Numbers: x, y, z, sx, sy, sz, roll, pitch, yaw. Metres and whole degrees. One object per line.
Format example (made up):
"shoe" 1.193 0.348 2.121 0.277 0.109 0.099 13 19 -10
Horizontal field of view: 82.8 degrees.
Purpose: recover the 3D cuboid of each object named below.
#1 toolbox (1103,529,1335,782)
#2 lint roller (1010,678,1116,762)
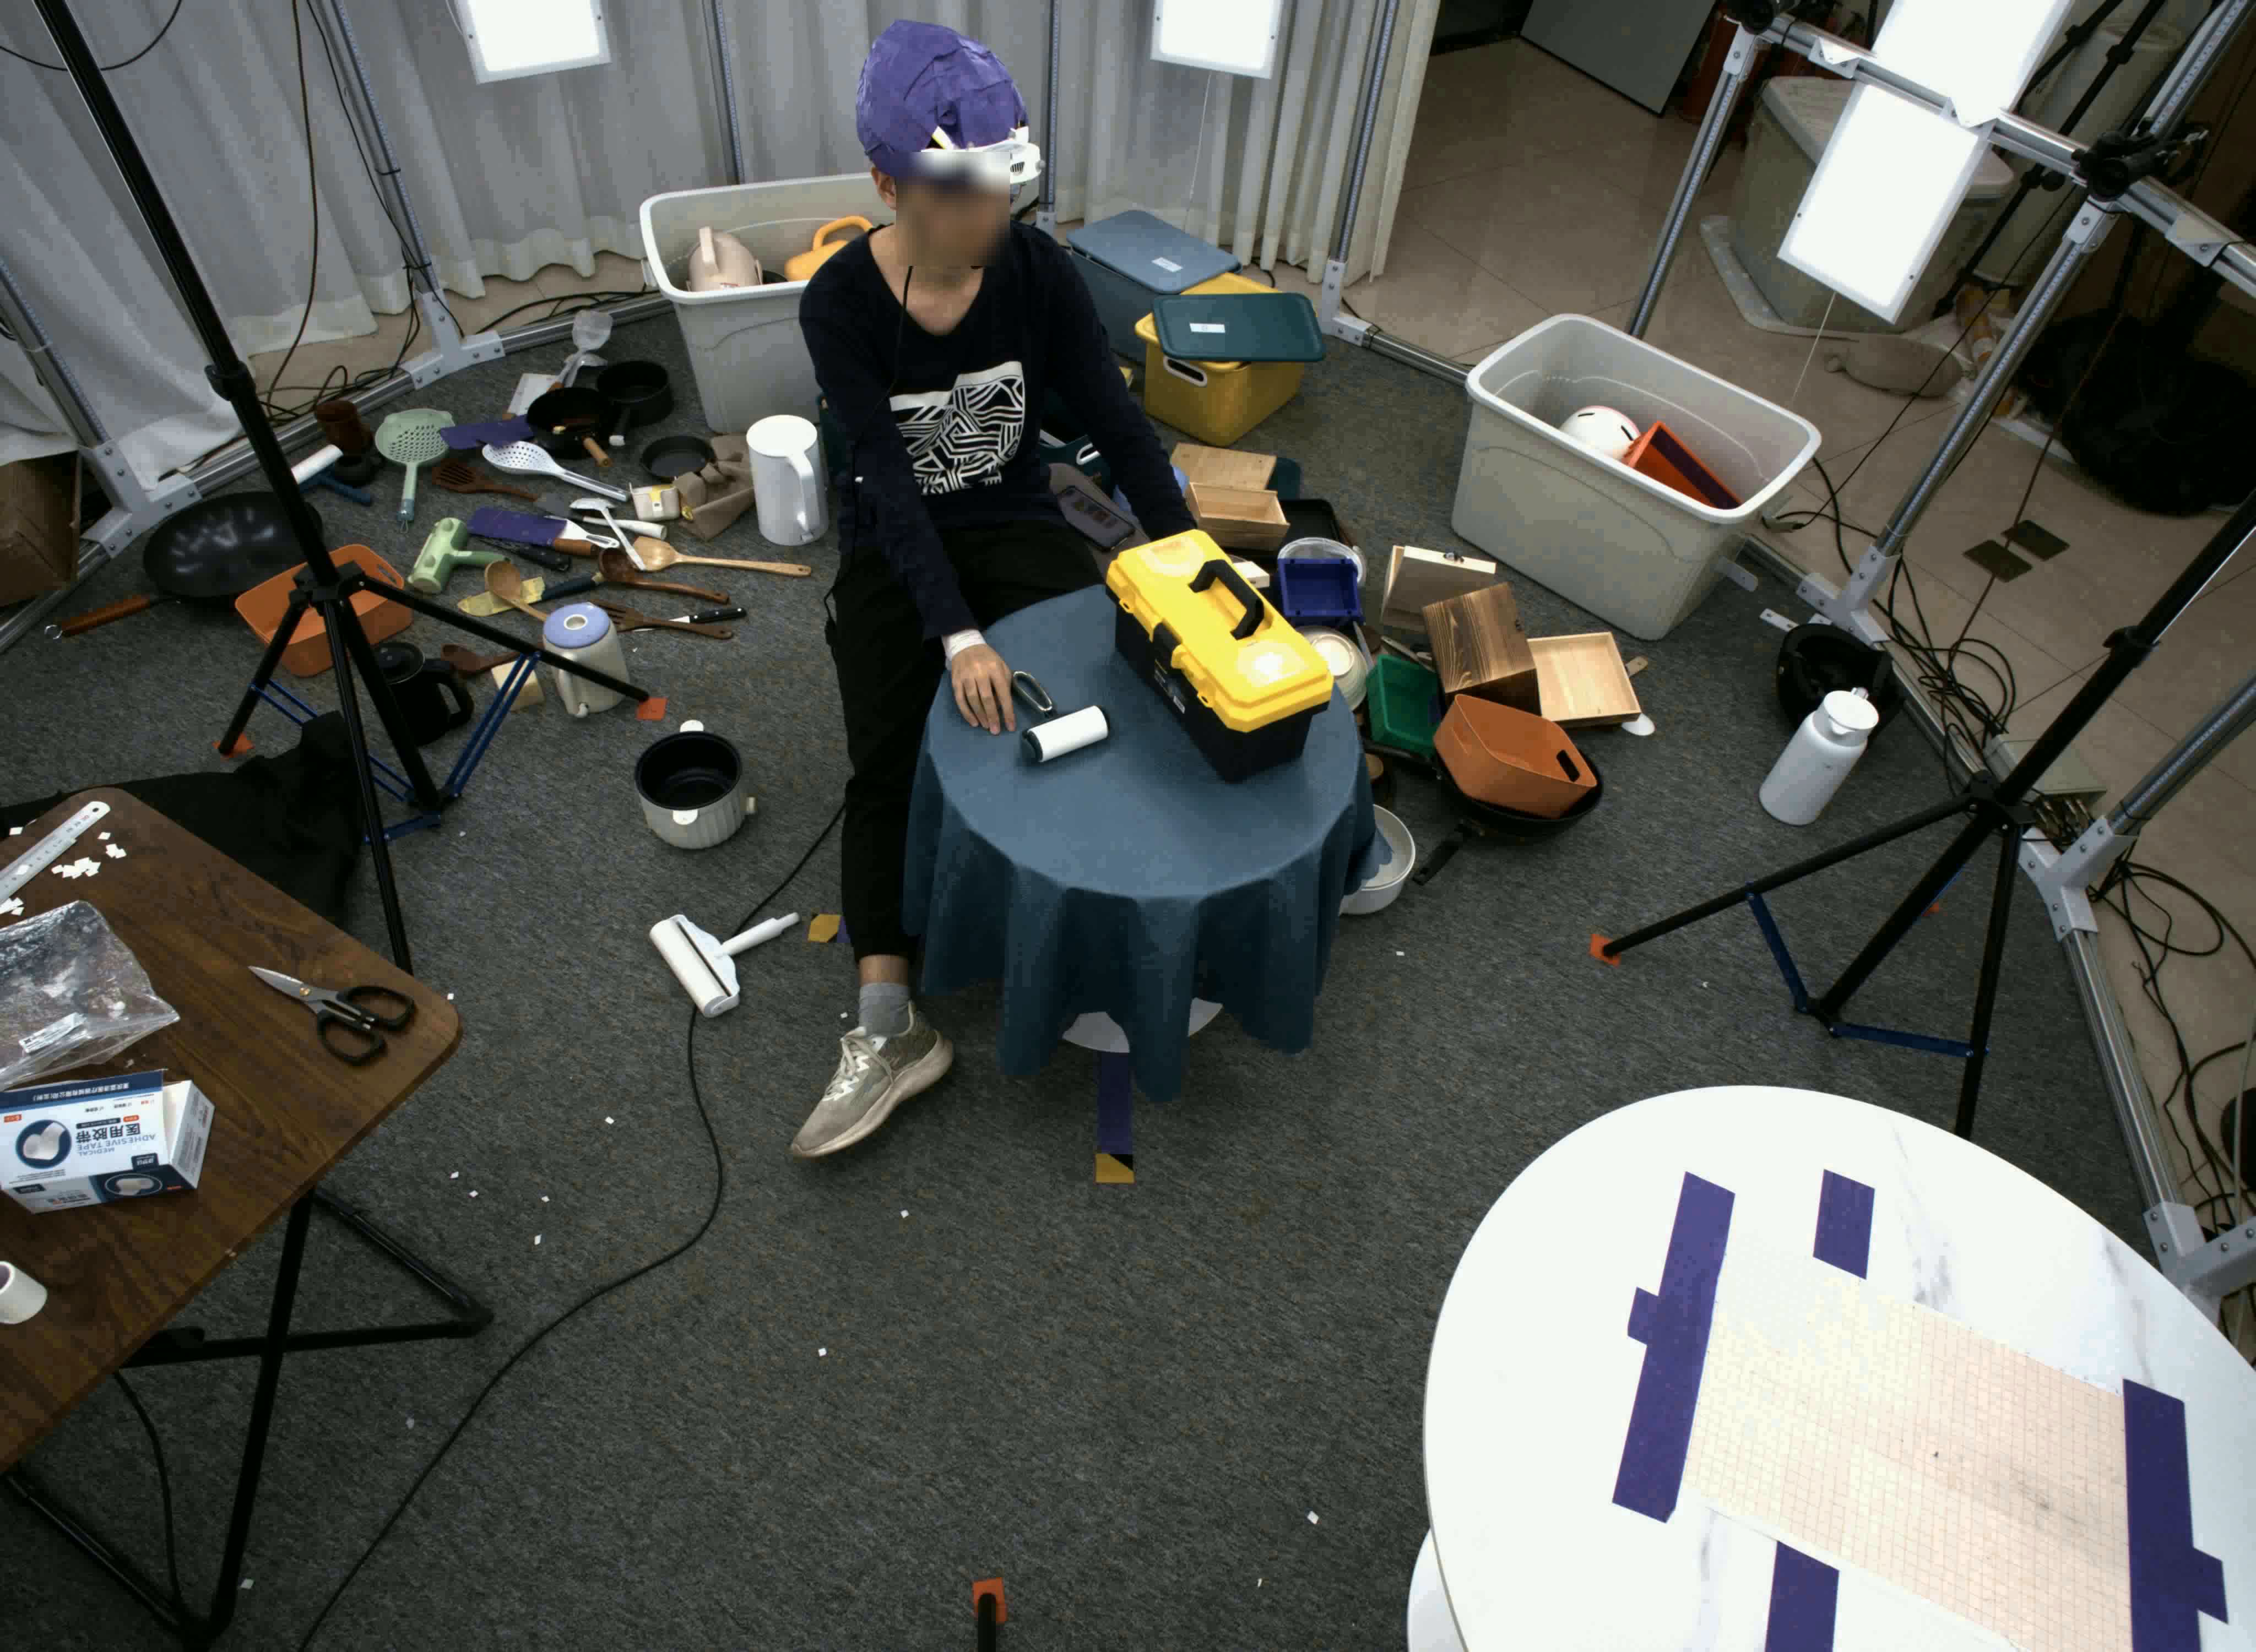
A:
"toolbox" 0.114 -0.237 1.768 0.182 0.168 0.359 -21 53 -21
"lint roller" -0.116 -0.169 1.780 0.135 0.047 0.184 -22 51 -21
